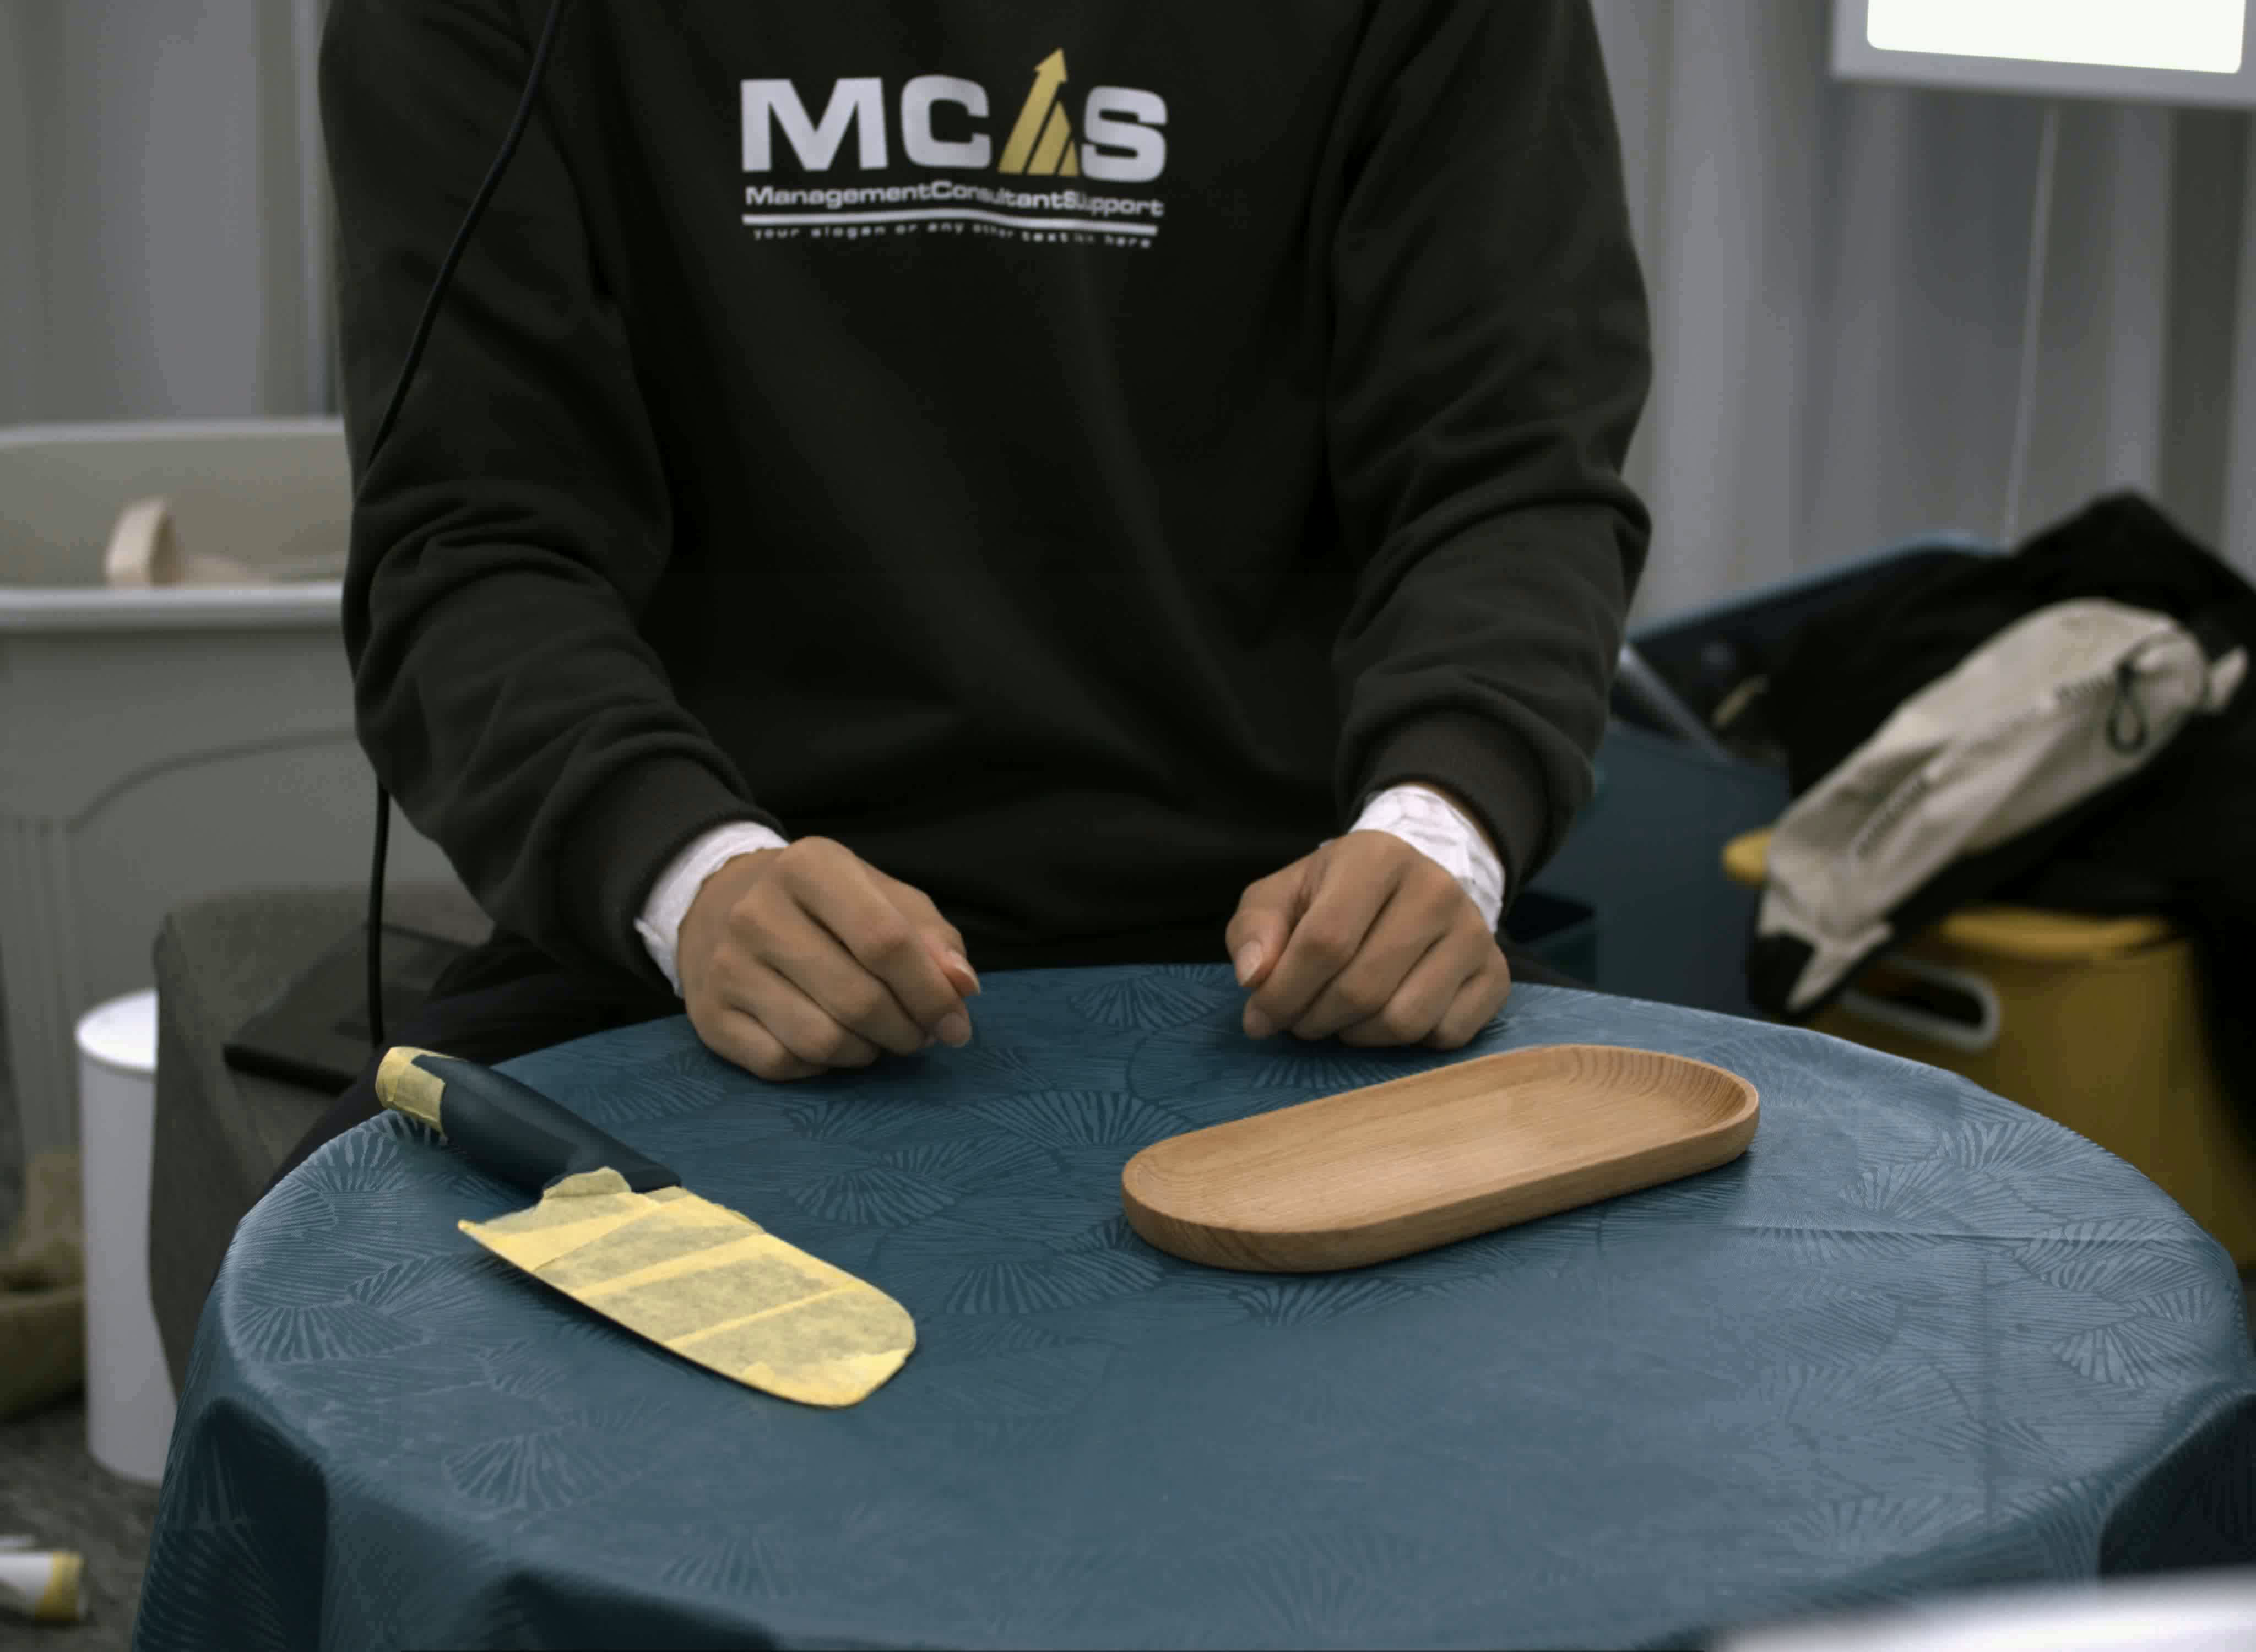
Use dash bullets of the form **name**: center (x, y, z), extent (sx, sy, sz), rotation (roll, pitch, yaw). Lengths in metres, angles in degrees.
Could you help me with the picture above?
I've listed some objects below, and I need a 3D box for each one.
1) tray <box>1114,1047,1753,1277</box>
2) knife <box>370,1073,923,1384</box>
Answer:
- **tray**: center (0.097, 0.103, 1.633), extent (0.232, 0.020, 0.100), rotation (-14, 19, -37)
- **knife**: center (-0.155, 0.120, 1.563), extent (0.081, 0.027, 0.285), rotation (-9, 19, -37)
